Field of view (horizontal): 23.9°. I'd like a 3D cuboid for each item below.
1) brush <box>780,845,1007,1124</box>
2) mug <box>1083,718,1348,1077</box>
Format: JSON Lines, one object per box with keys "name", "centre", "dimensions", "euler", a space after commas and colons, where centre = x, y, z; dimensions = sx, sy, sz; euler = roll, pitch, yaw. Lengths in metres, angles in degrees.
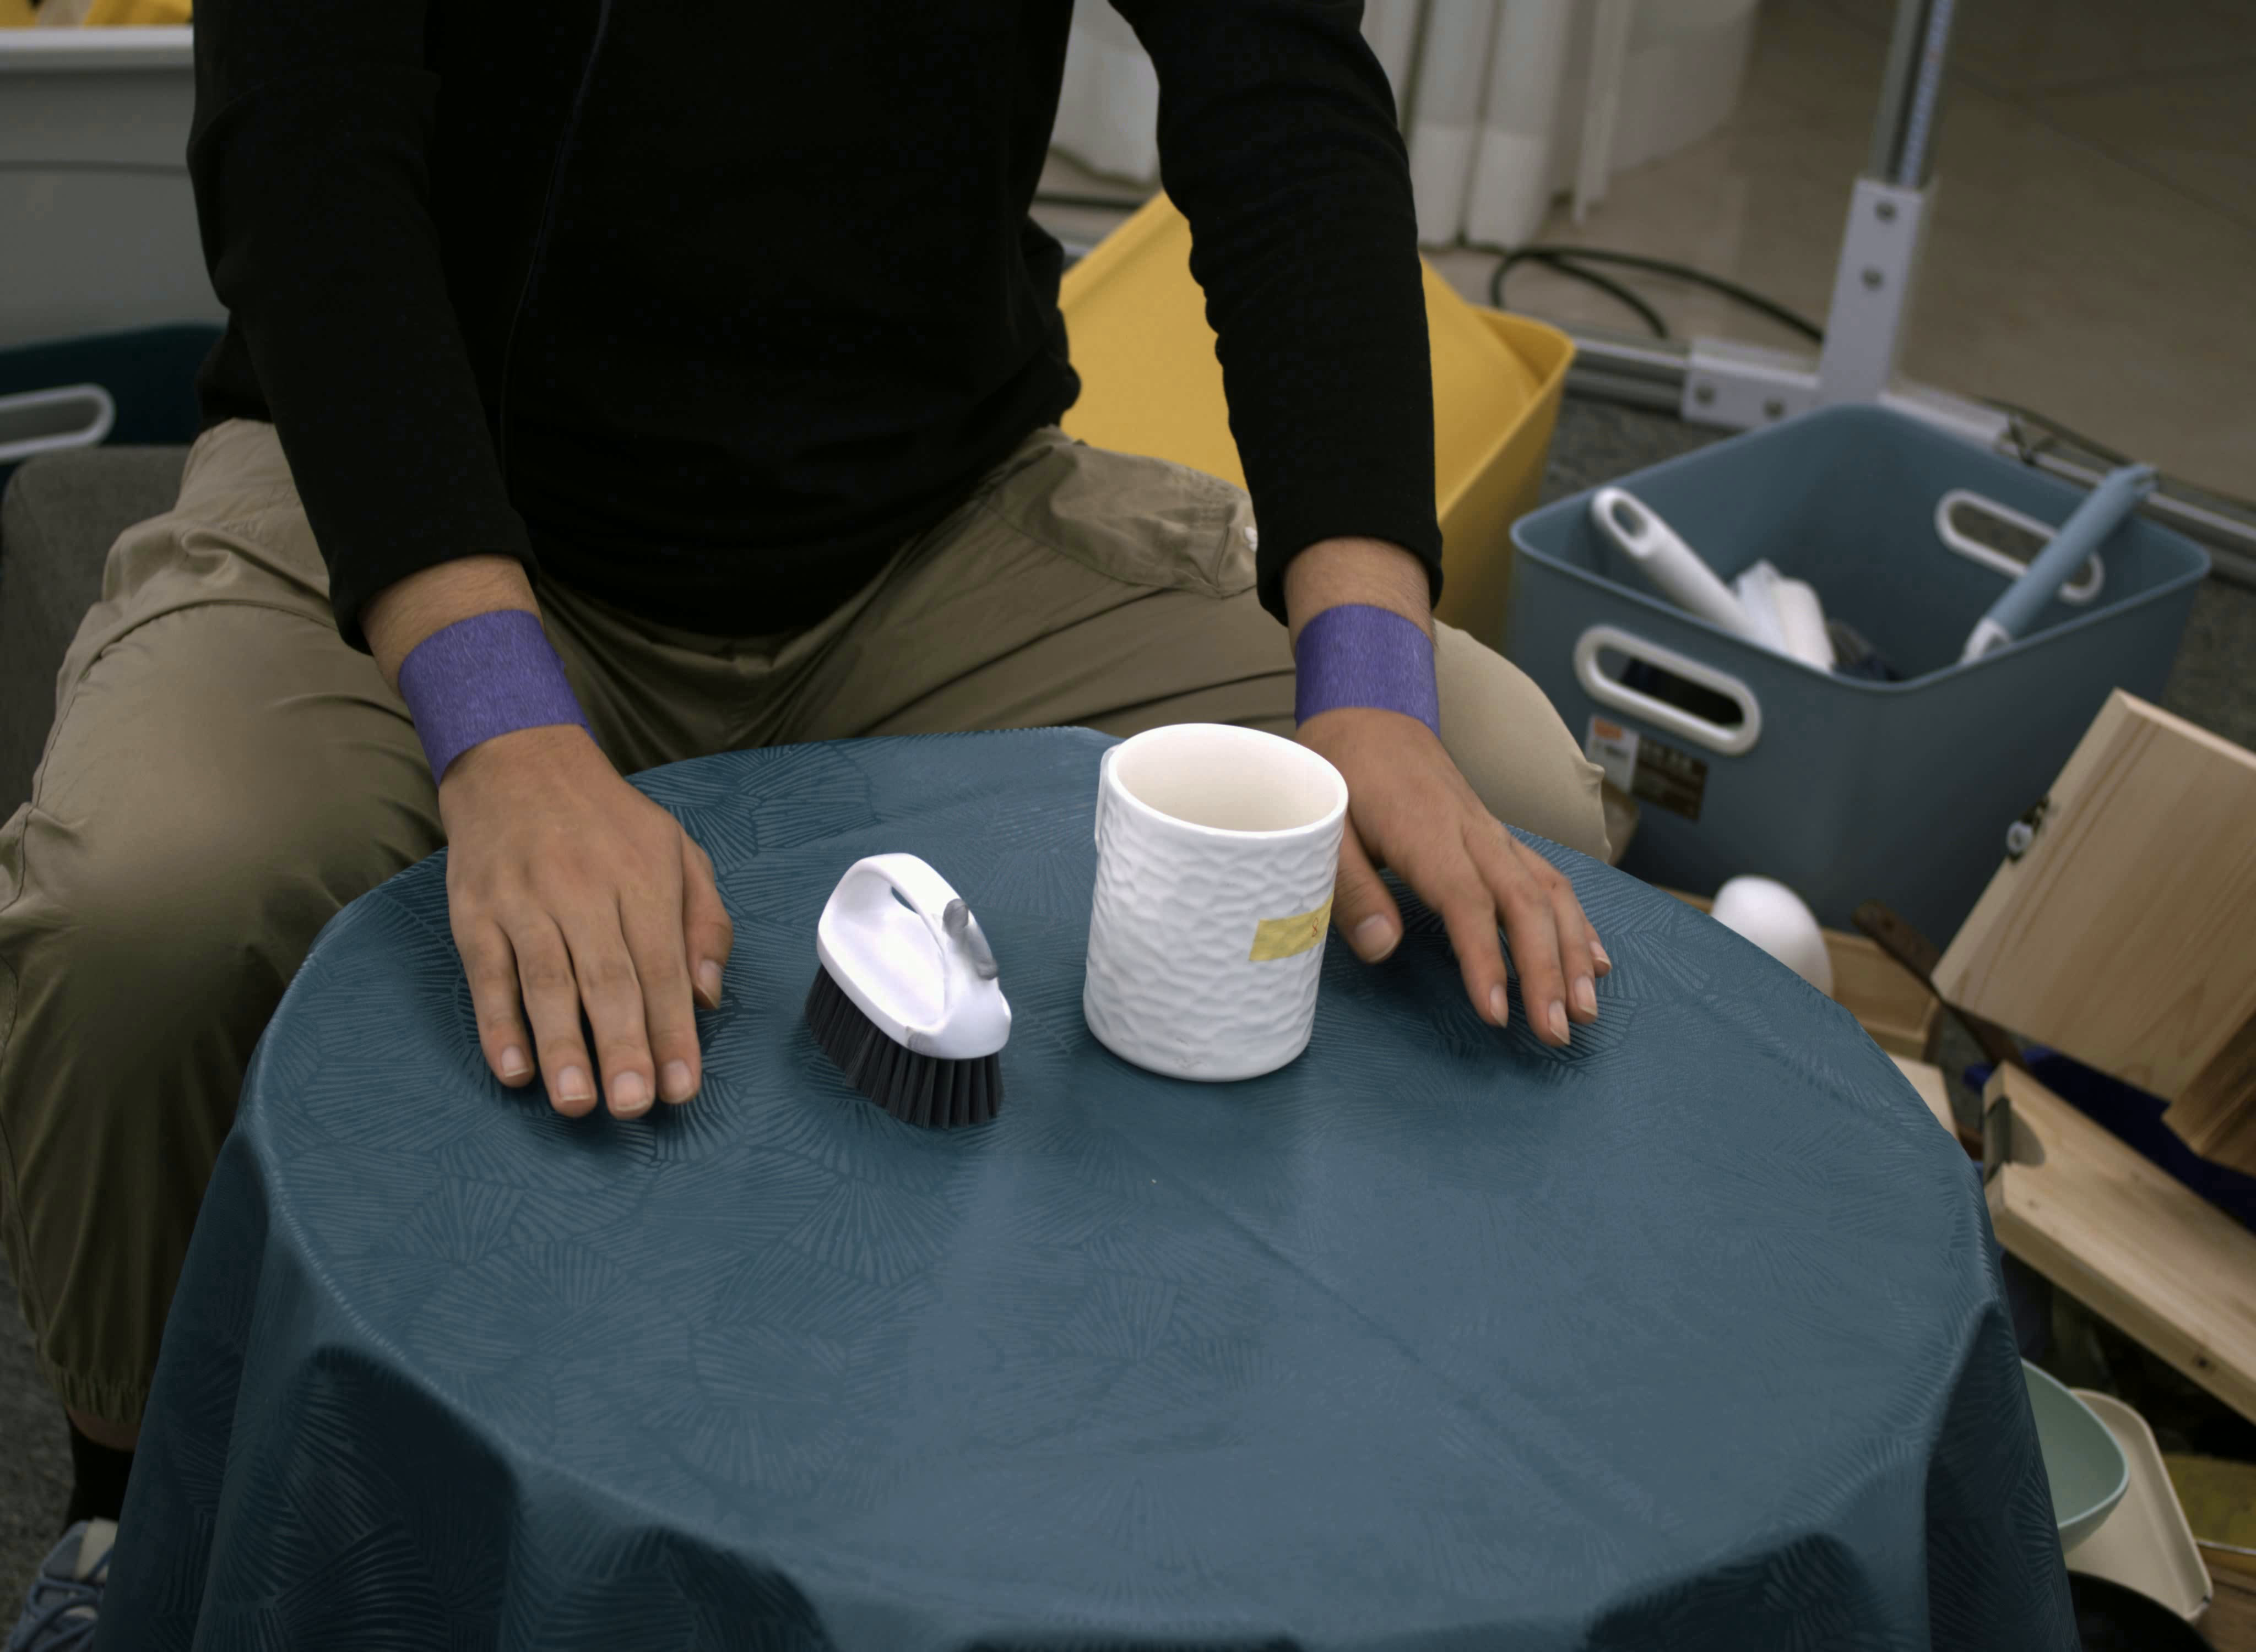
{"name": "brush", "centre": [-0.079, 0.048, 1.848], "dimensions": [0.050, 0.072, 0.100], "euler": [-8, 35, -37]}
{"name": "mug", "centre": [0.022, 0.019, 1.895], "dimensions": [0.084, 0.101, 0.119], "euler": [-10, 31, -29]}
